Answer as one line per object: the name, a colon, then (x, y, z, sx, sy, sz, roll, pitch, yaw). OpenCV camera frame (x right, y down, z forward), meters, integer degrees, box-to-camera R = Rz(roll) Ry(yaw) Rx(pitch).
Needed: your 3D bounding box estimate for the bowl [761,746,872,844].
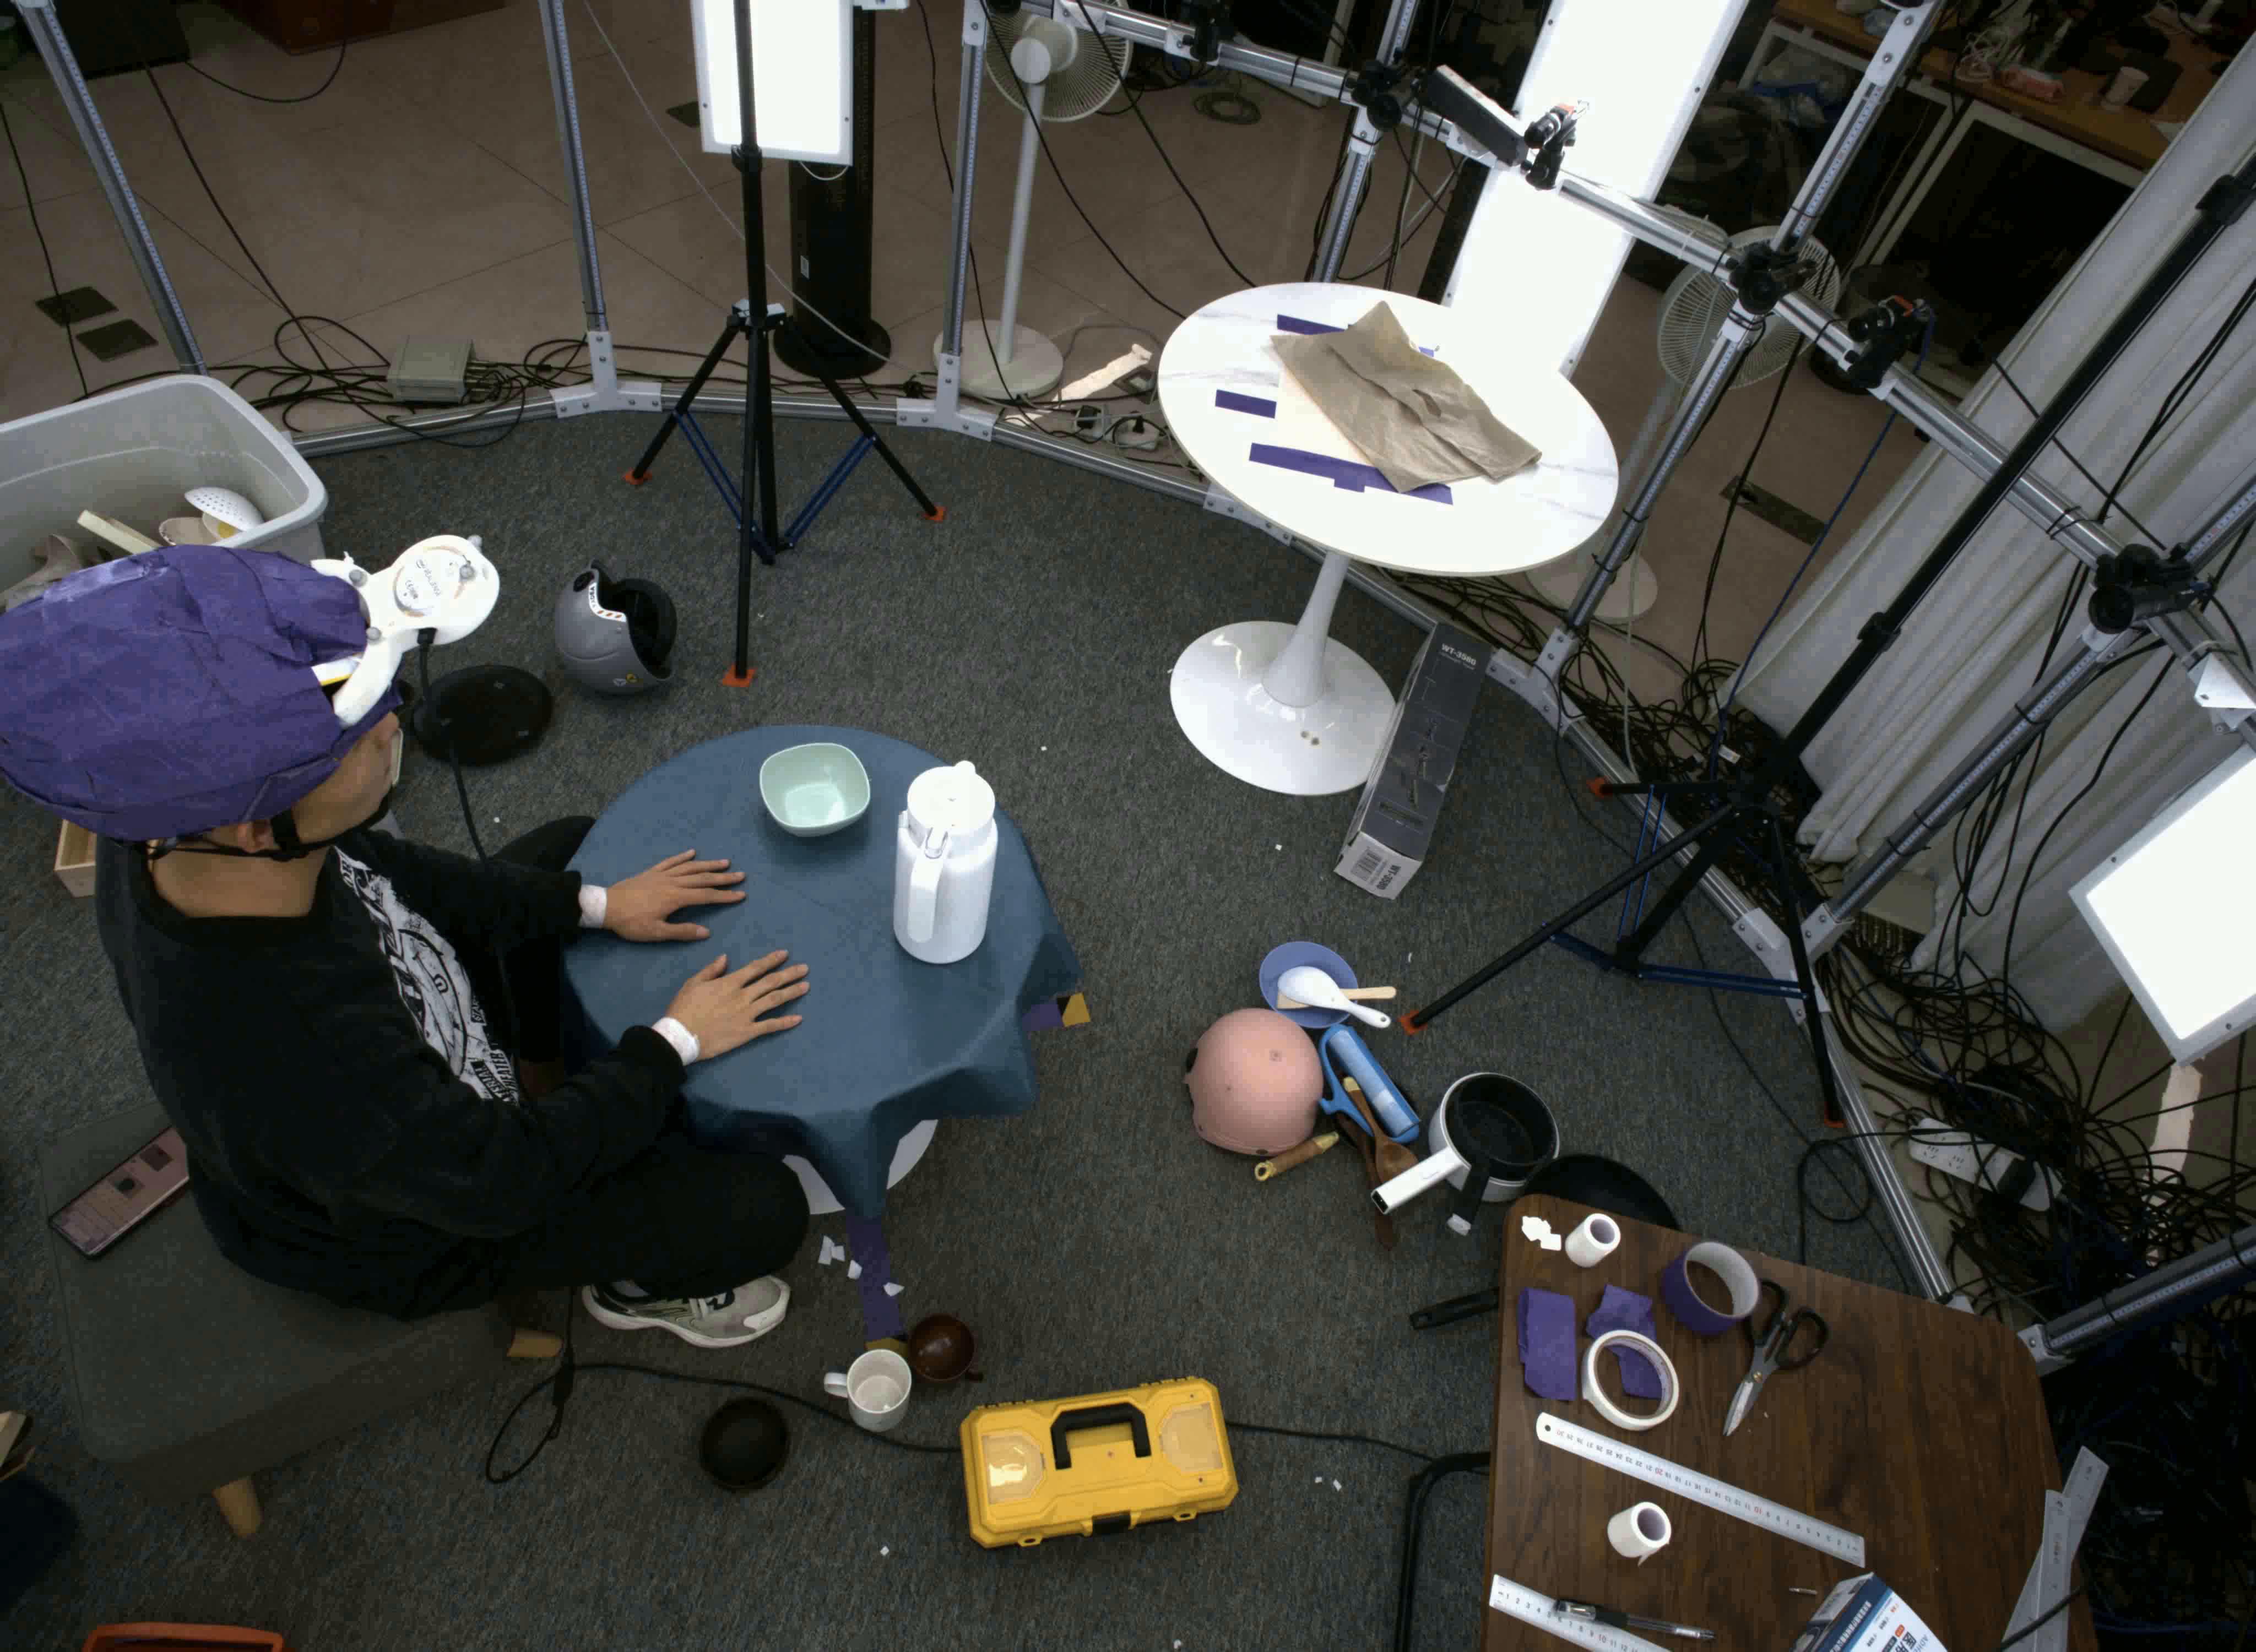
bowl: (-0.411, -0.032, 1.722, 0.150, 0.060, 0.149, 4, 57, -5)

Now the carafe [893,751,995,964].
carafe: (-0.224, 0.059, 1.556, 0.123, 0.274, 0.170, 15, 51, -2)
